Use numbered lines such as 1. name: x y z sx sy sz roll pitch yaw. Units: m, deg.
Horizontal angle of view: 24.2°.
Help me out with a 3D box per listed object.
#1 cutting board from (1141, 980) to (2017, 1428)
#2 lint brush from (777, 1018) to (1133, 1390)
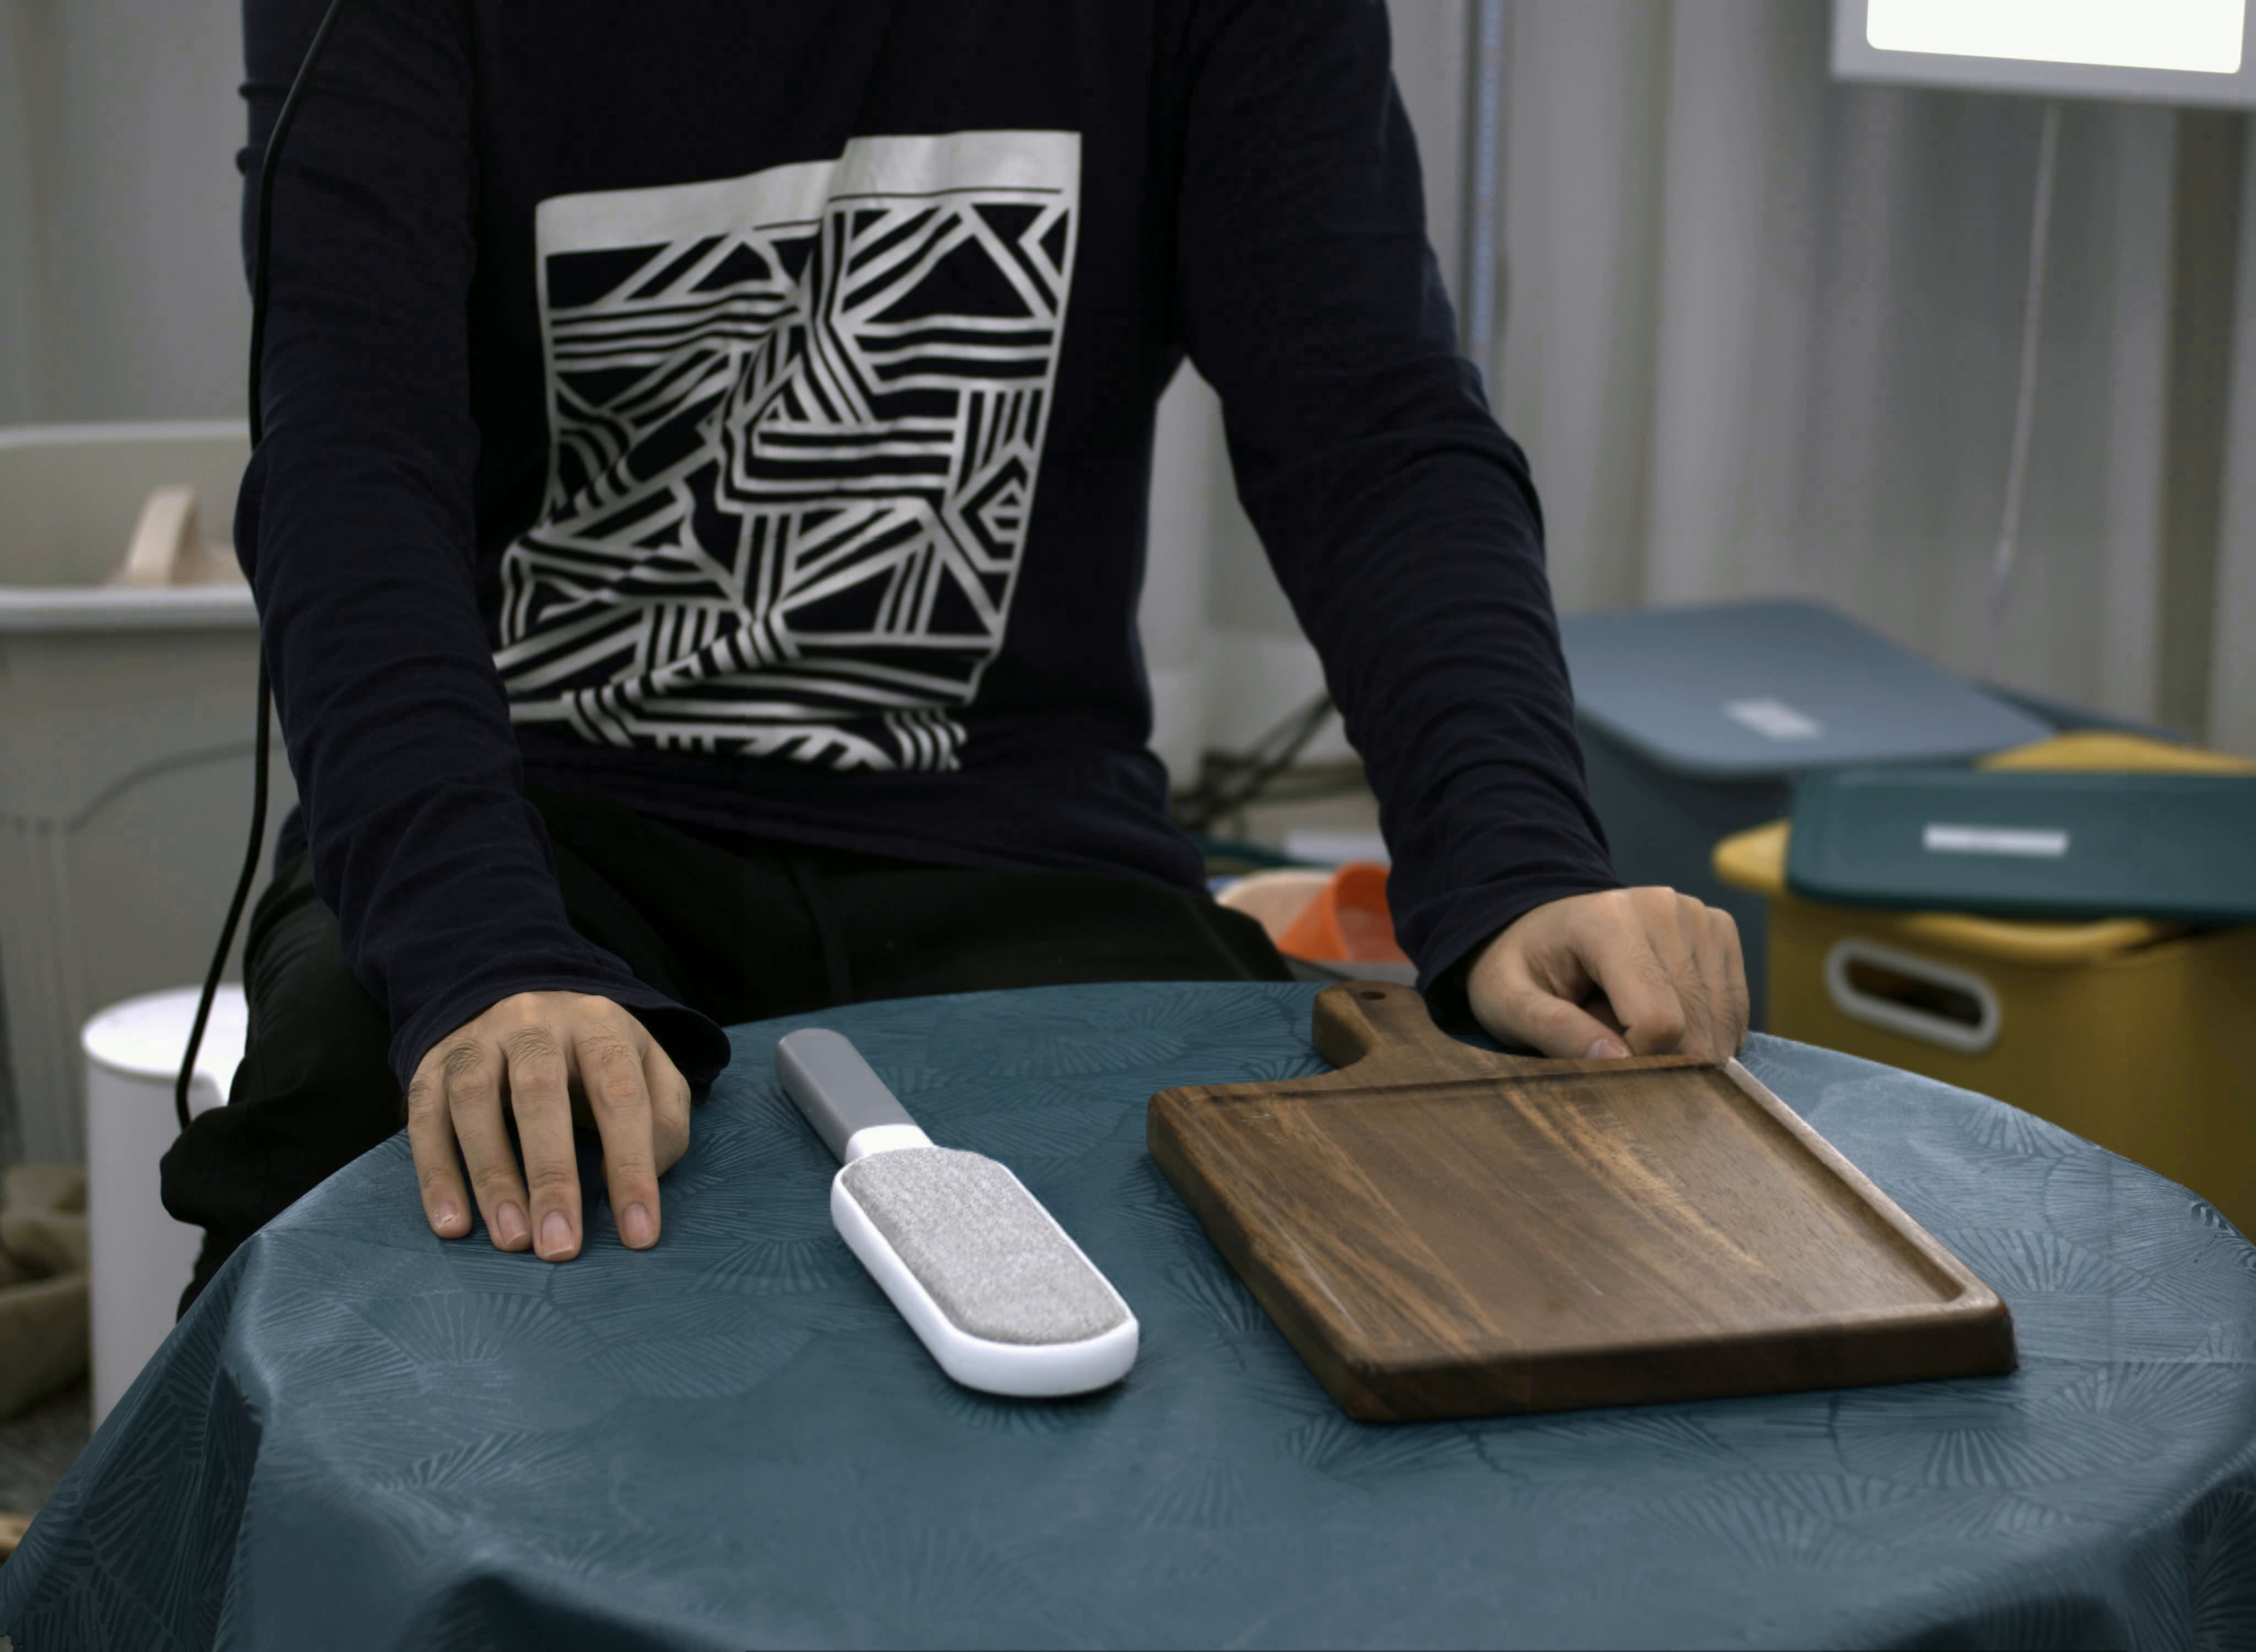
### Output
1. cutting board: 0.116 0.106 1.616 0.201 0.023 0.349 -3 15 -13
2. lint brush: -0.060 0.109 1.584 0.060 0.021 0.306 -9 17 -15
